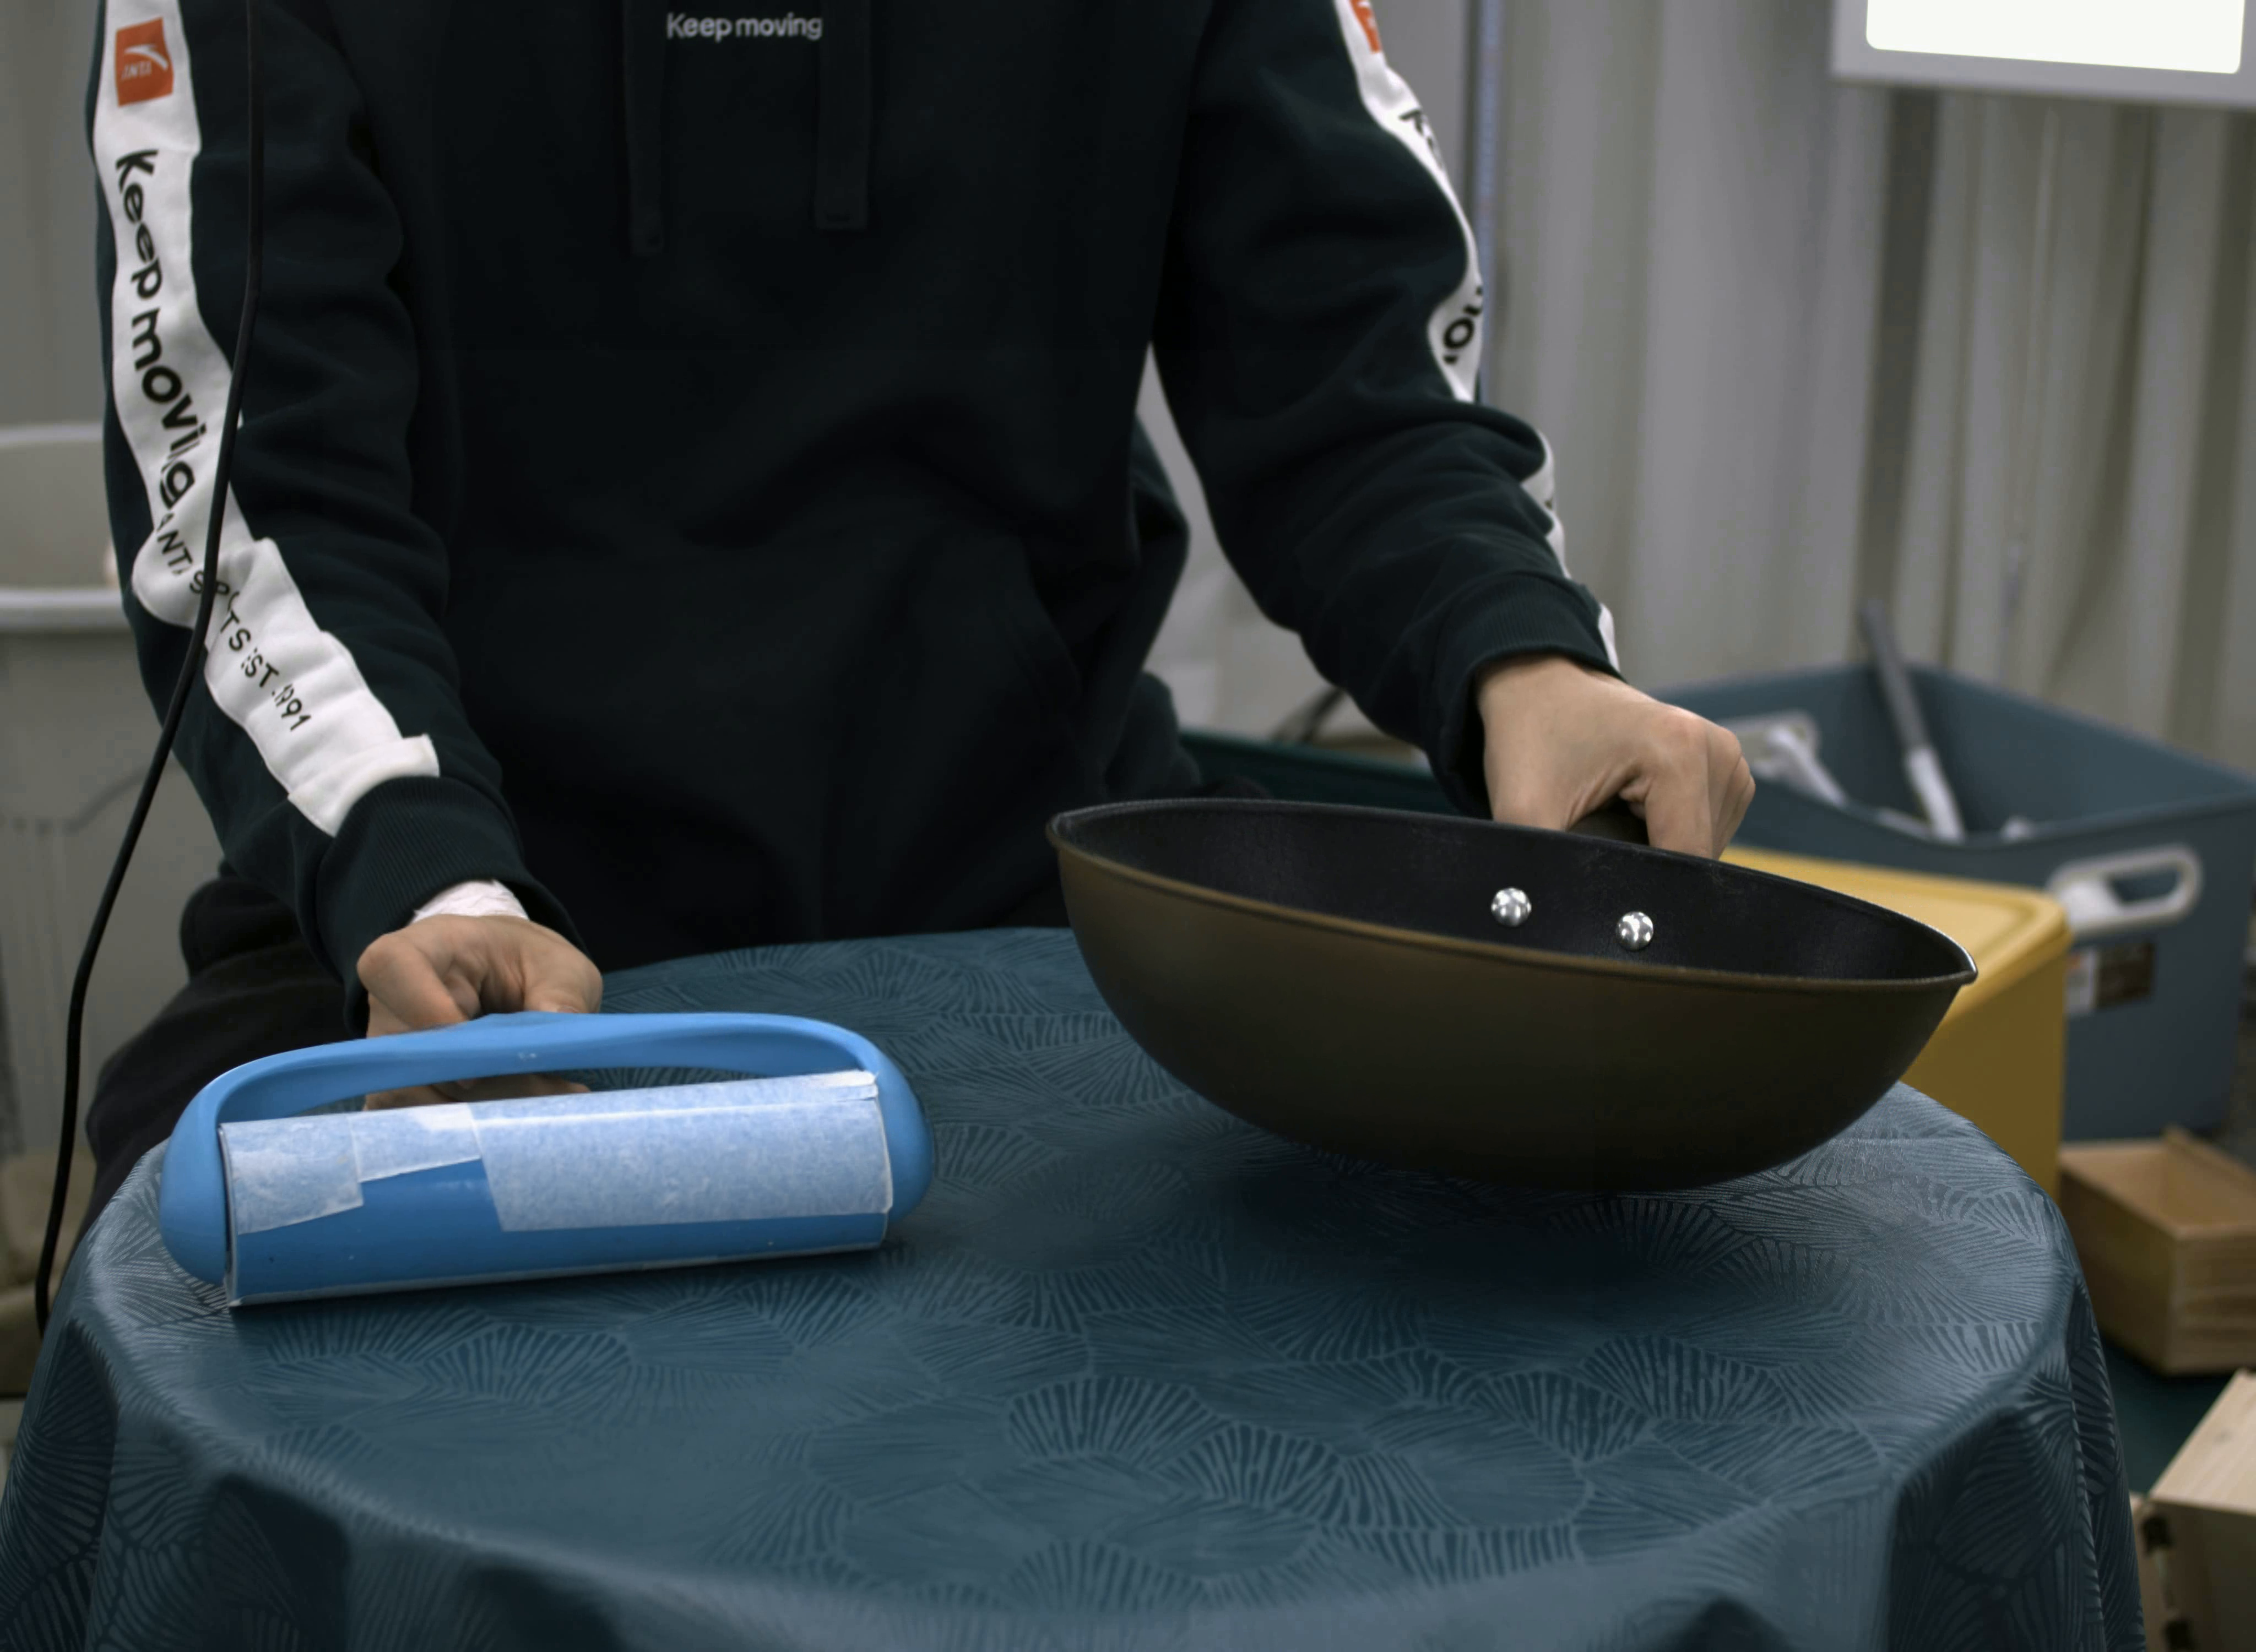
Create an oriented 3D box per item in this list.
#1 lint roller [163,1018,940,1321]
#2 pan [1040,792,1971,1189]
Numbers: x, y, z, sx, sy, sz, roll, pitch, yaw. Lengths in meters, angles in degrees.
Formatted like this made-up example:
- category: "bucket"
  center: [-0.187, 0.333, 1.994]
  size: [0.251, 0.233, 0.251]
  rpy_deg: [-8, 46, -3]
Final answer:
- category: "lint roller"
  center: [-0.185, 0.090, 1.589]
  size: [0.229, 0.068, 0.178]
  rpy_deg: [-7, 18, -18]
- category: "pan"
  center: [0.132, 0.047, 1.687]
  size: [0.286, 0.087, 0.464]
  rpy_deg: [10, 6, 14]
